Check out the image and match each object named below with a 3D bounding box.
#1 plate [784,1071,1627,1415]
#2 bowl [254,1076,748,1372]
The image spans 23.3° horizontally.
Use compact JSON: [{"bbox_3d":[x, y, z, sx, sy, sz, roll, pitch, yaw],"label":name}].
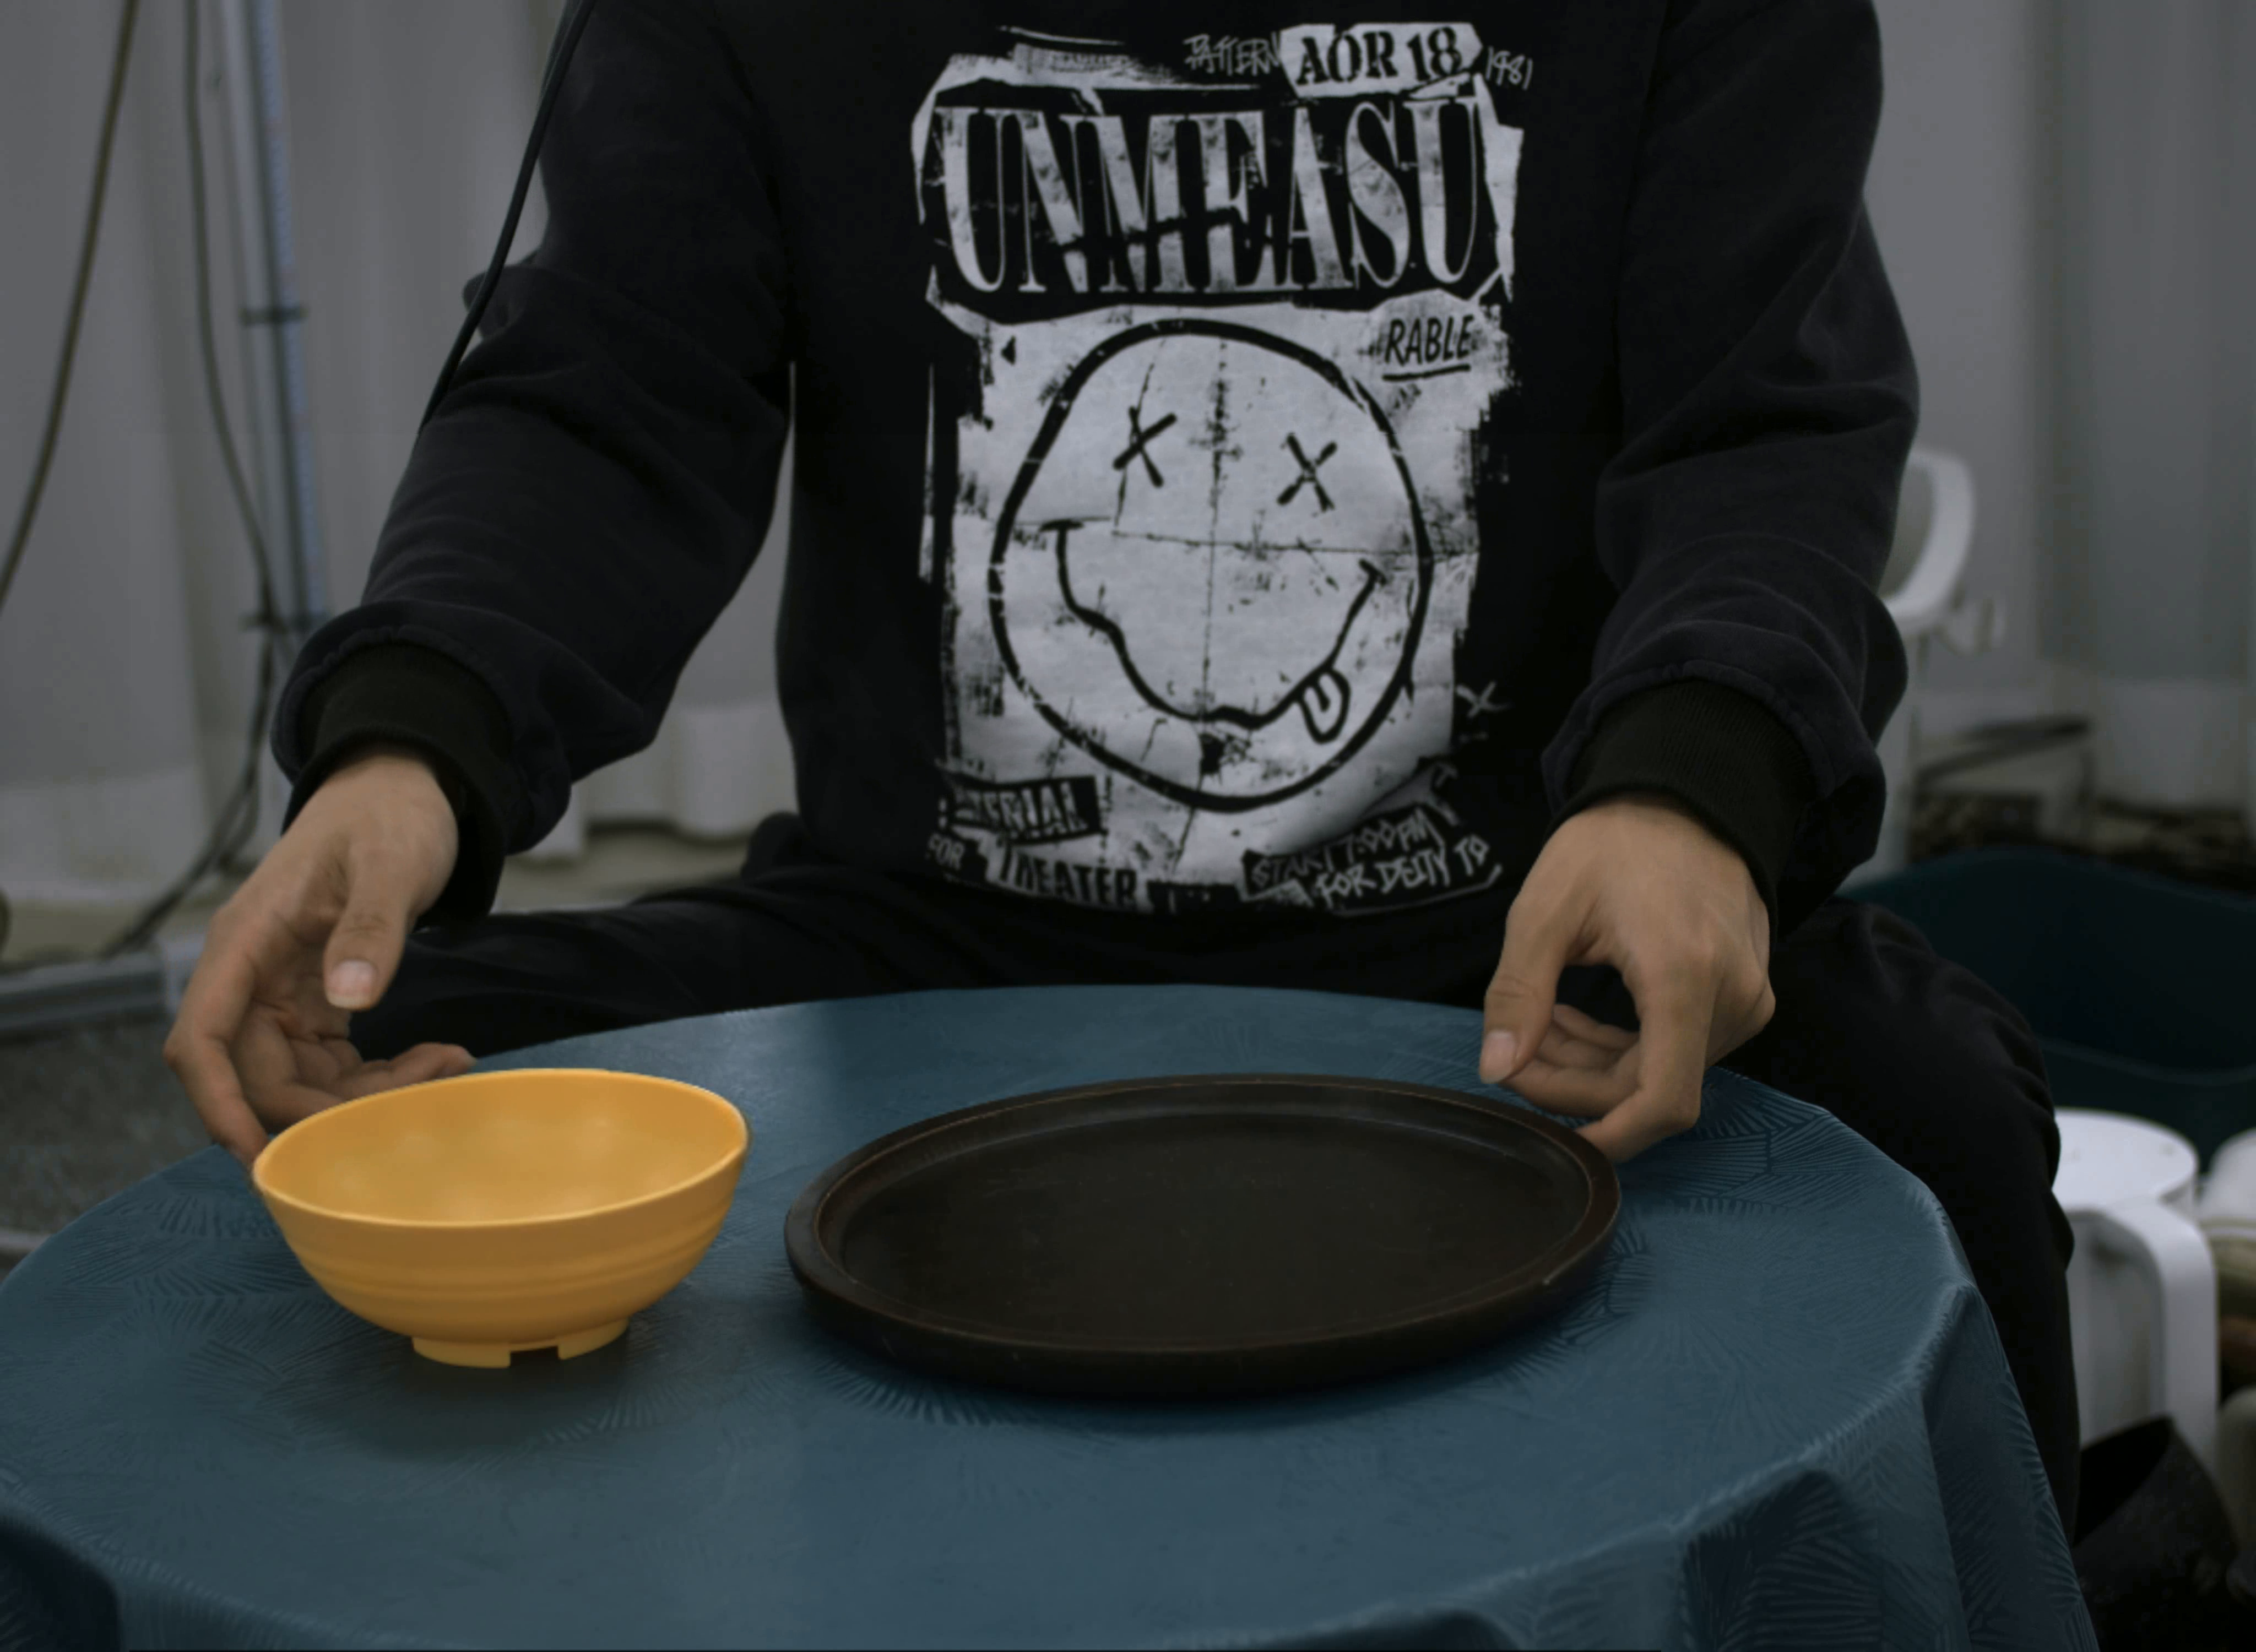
[{"bbox_3d":[0.023,0.123,1.639,0.254,0.029,0.256,-4,14,1],"label":"plate"},{"bbox_3d":[-0.183,0.122,1.612,0.145,0.060,0.146,-1,13,0],"label":"bowl"}]
